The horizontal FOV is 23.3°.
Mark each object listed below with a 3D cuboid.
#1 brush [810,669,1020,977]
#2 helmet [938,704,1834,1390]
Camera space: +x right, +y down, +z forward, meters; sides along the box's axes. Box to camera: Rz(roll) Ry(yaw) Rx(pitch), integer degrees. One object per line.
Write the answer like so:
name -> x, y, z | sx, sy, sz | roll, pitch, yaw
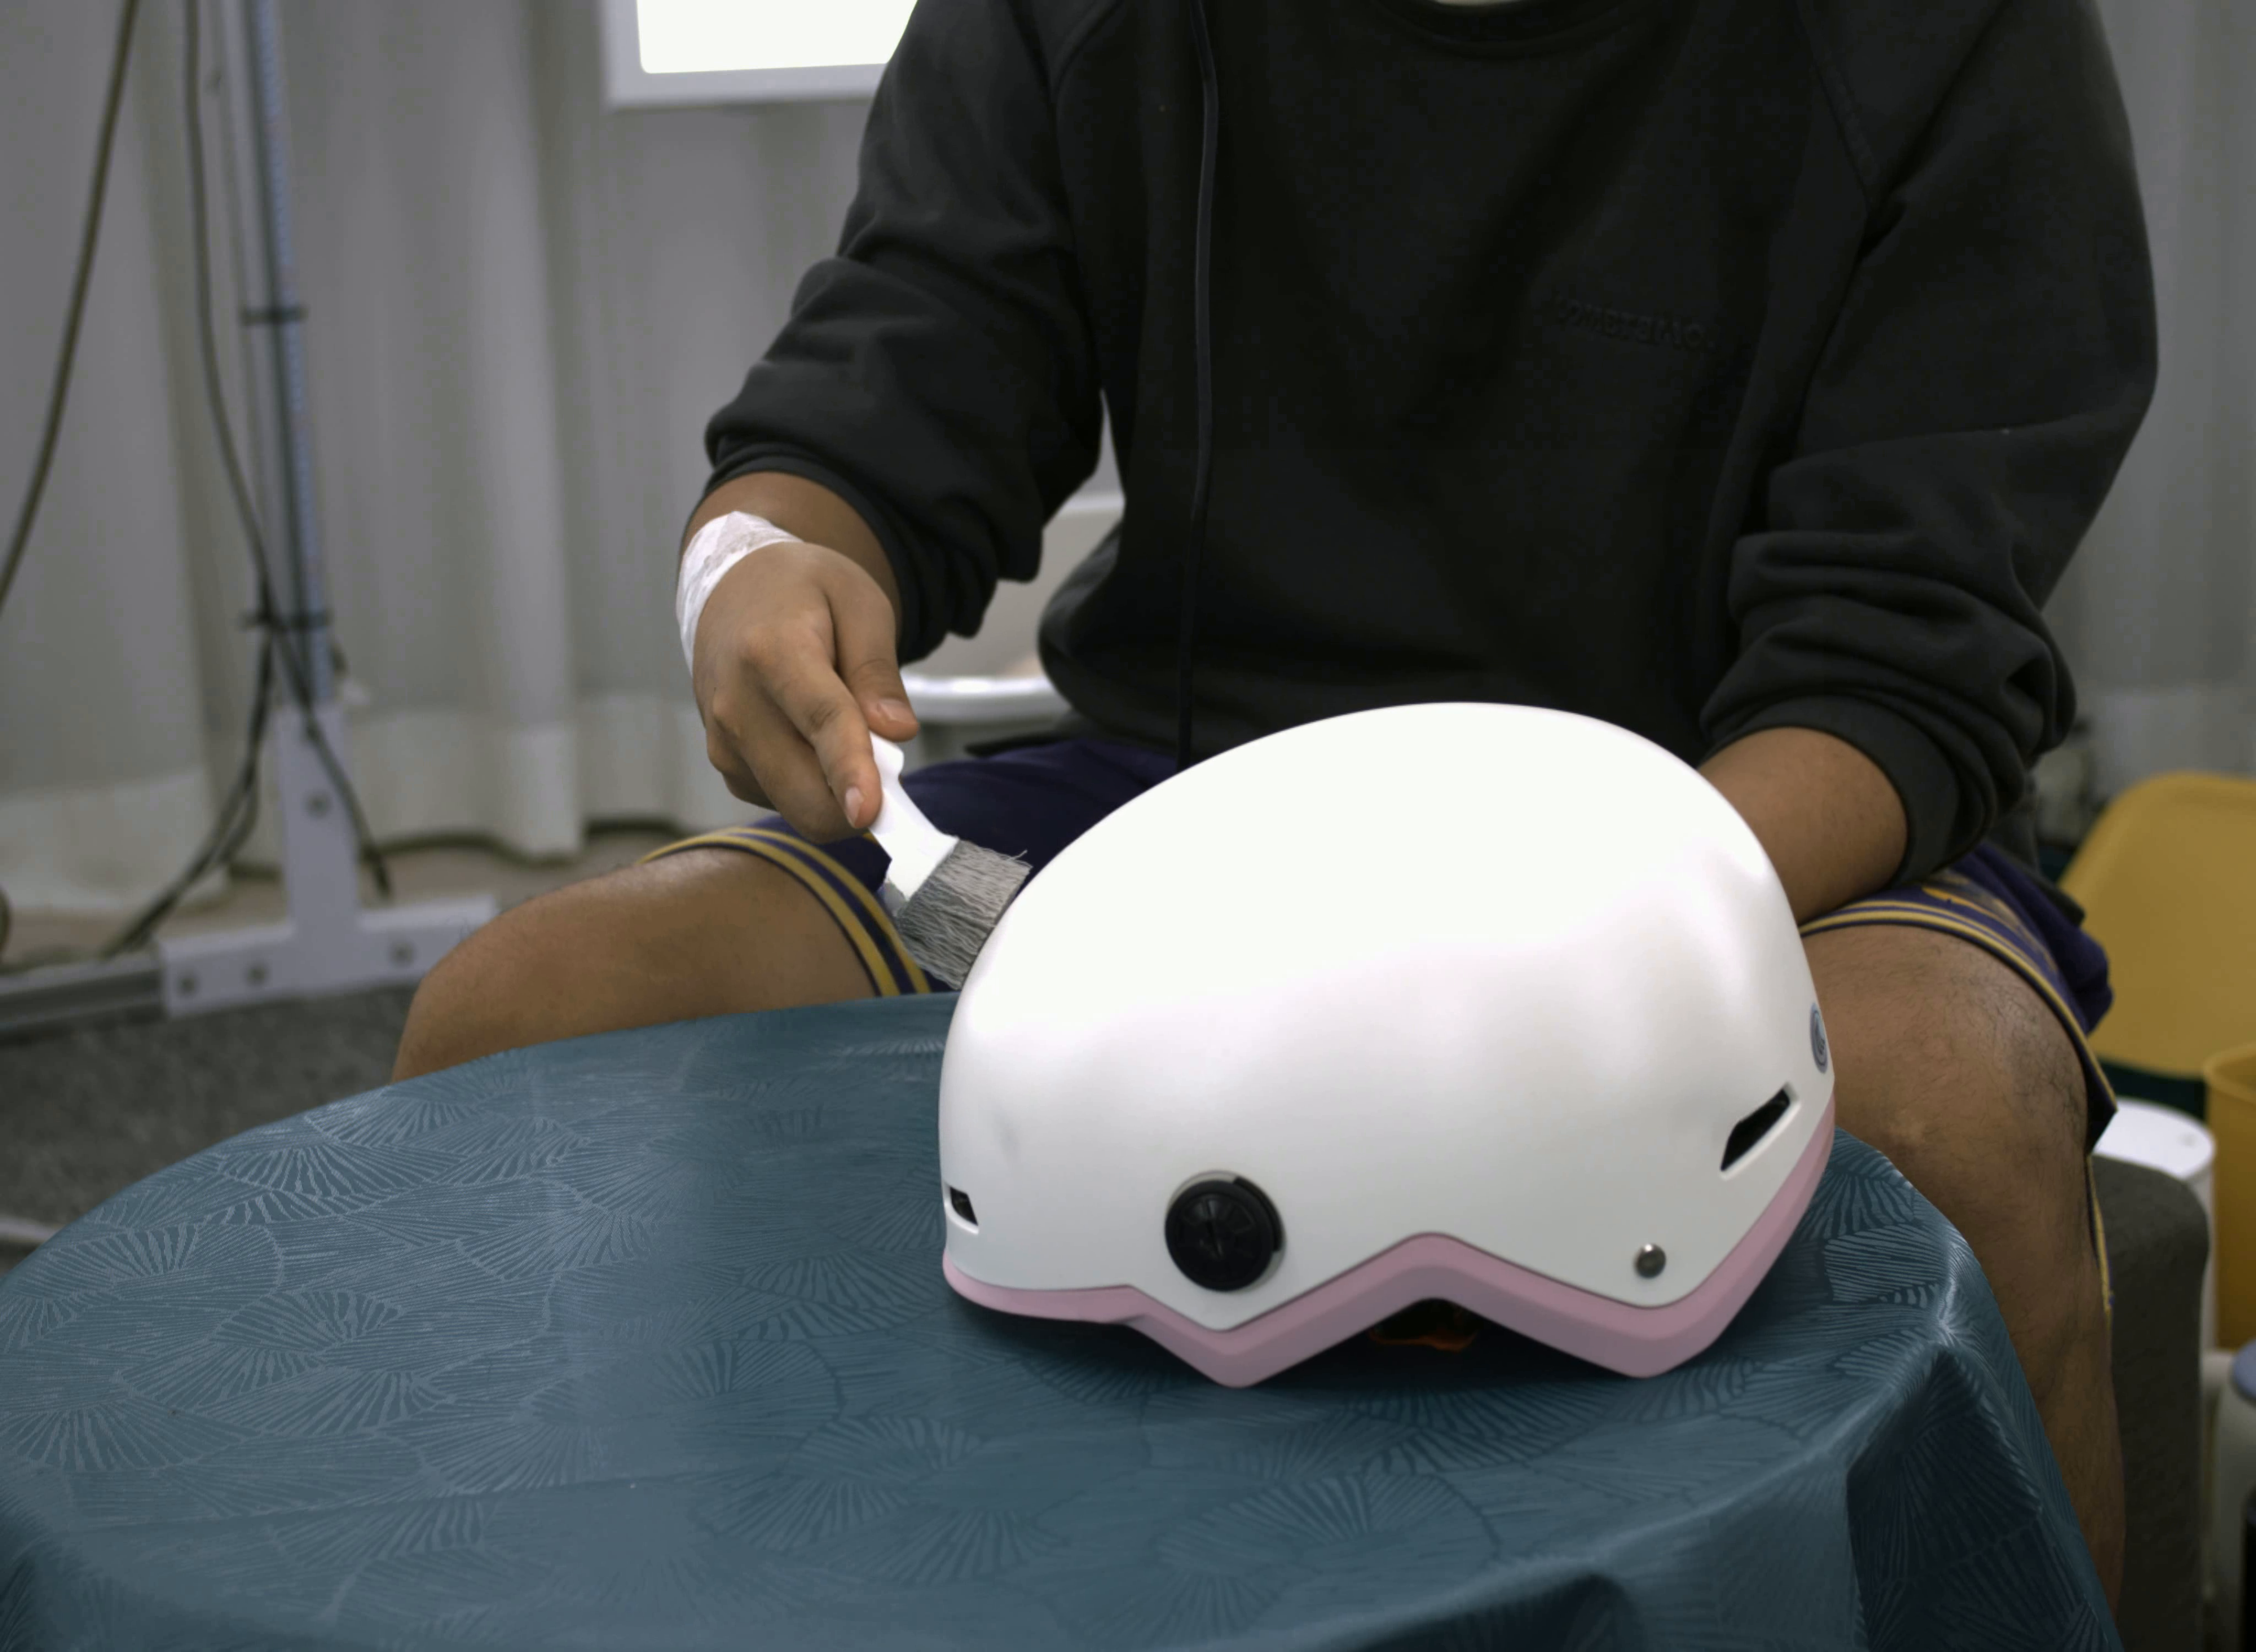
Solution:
brush -> -0.068, -0.004, 1.744 | 0.050, 0.034, 0.245 | 23, 12, -13
helmet -> 0.072, 0.050, 1.610 | 0.268, 0.166, 0.238 | 1, 18, 15
